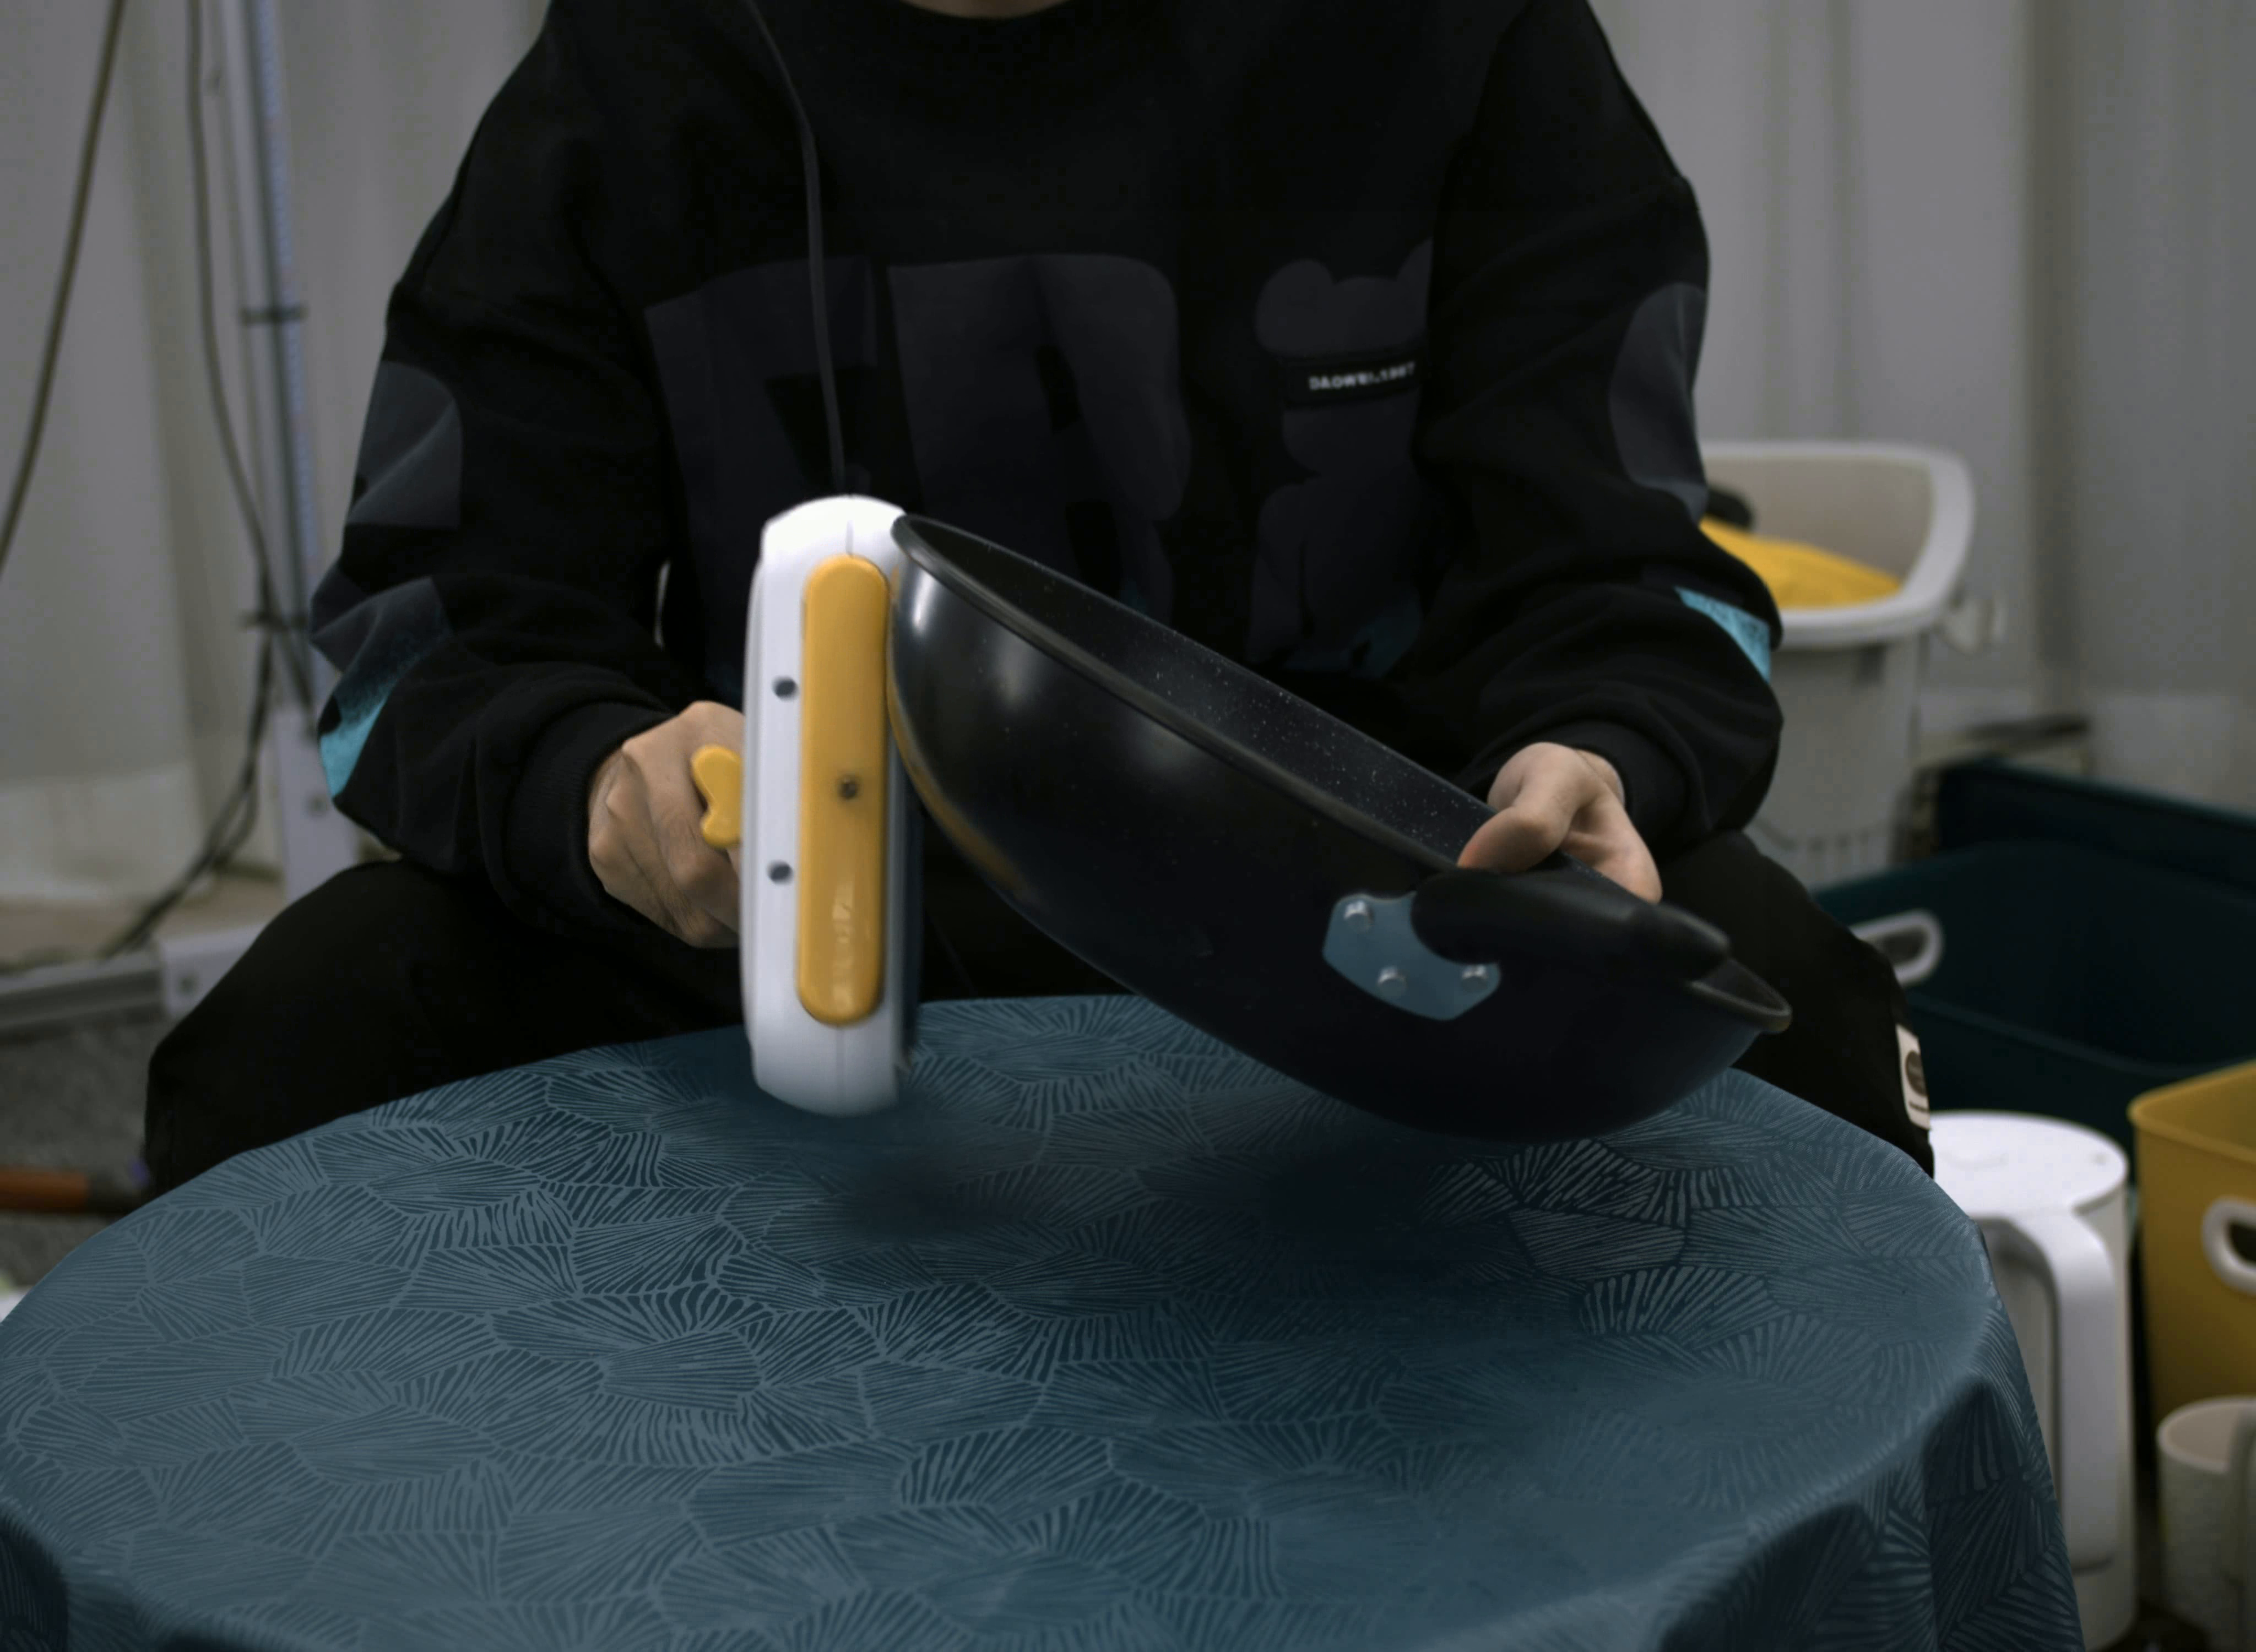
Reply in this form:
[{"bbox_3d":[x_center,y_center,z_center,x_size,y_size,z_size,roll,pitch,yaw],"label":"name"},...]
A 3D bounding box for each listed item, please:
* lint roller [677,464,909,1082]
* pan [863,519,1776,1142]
[{"bbox_3d":[-0.109,-0.003,1.754,0.074,0.195,0.191,-2,-14,-9],"label":"lint roller"},{"bbox_3d":[0.063,0.024,1.576,0.308,0.111,0.480,27,6,-15],"label":"pan"}]
